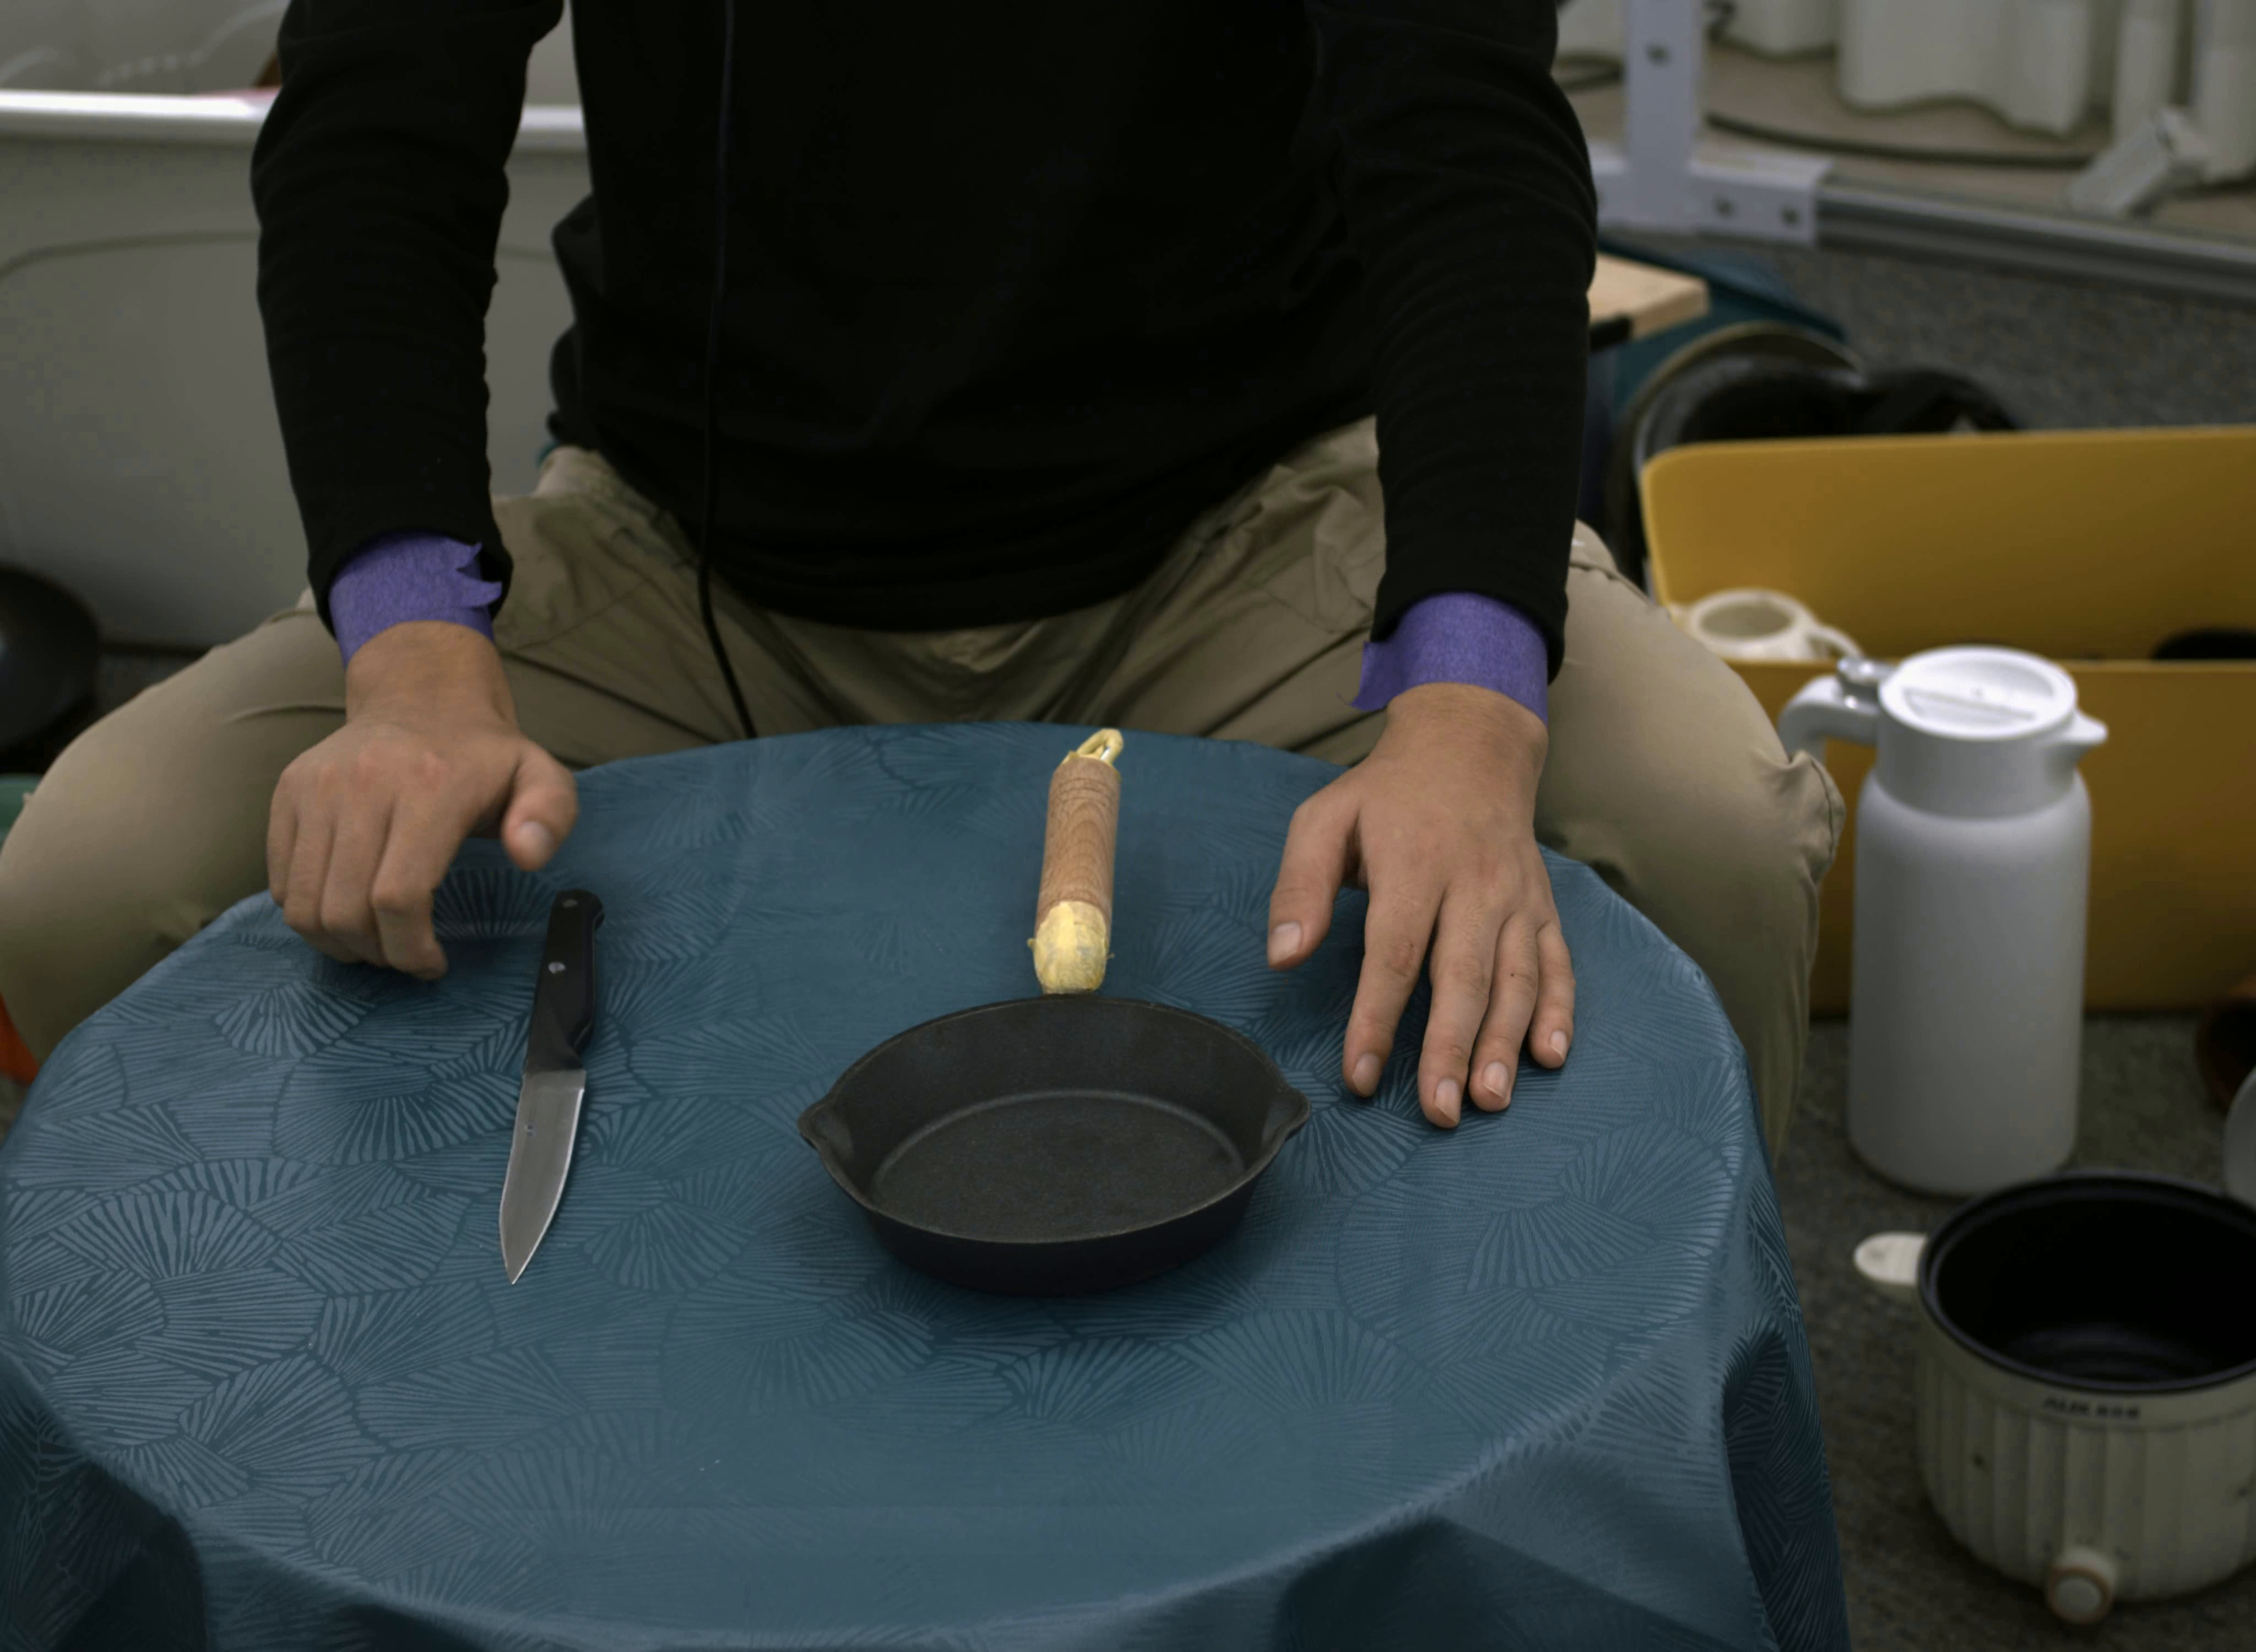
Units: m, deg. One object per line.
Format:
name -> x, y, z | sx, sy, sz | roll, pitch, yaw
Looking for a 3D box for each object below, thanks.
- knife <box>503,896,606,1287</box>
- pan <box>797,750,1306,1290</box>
knife -> -0.199, 0.090, 1.928 | 0.024, 0.016, 0.242 | -2, 30, 1
pan -> -0.019, 0.064, 1.924 | 0.168, 0.049, 0.329 | 0, 27, 5
